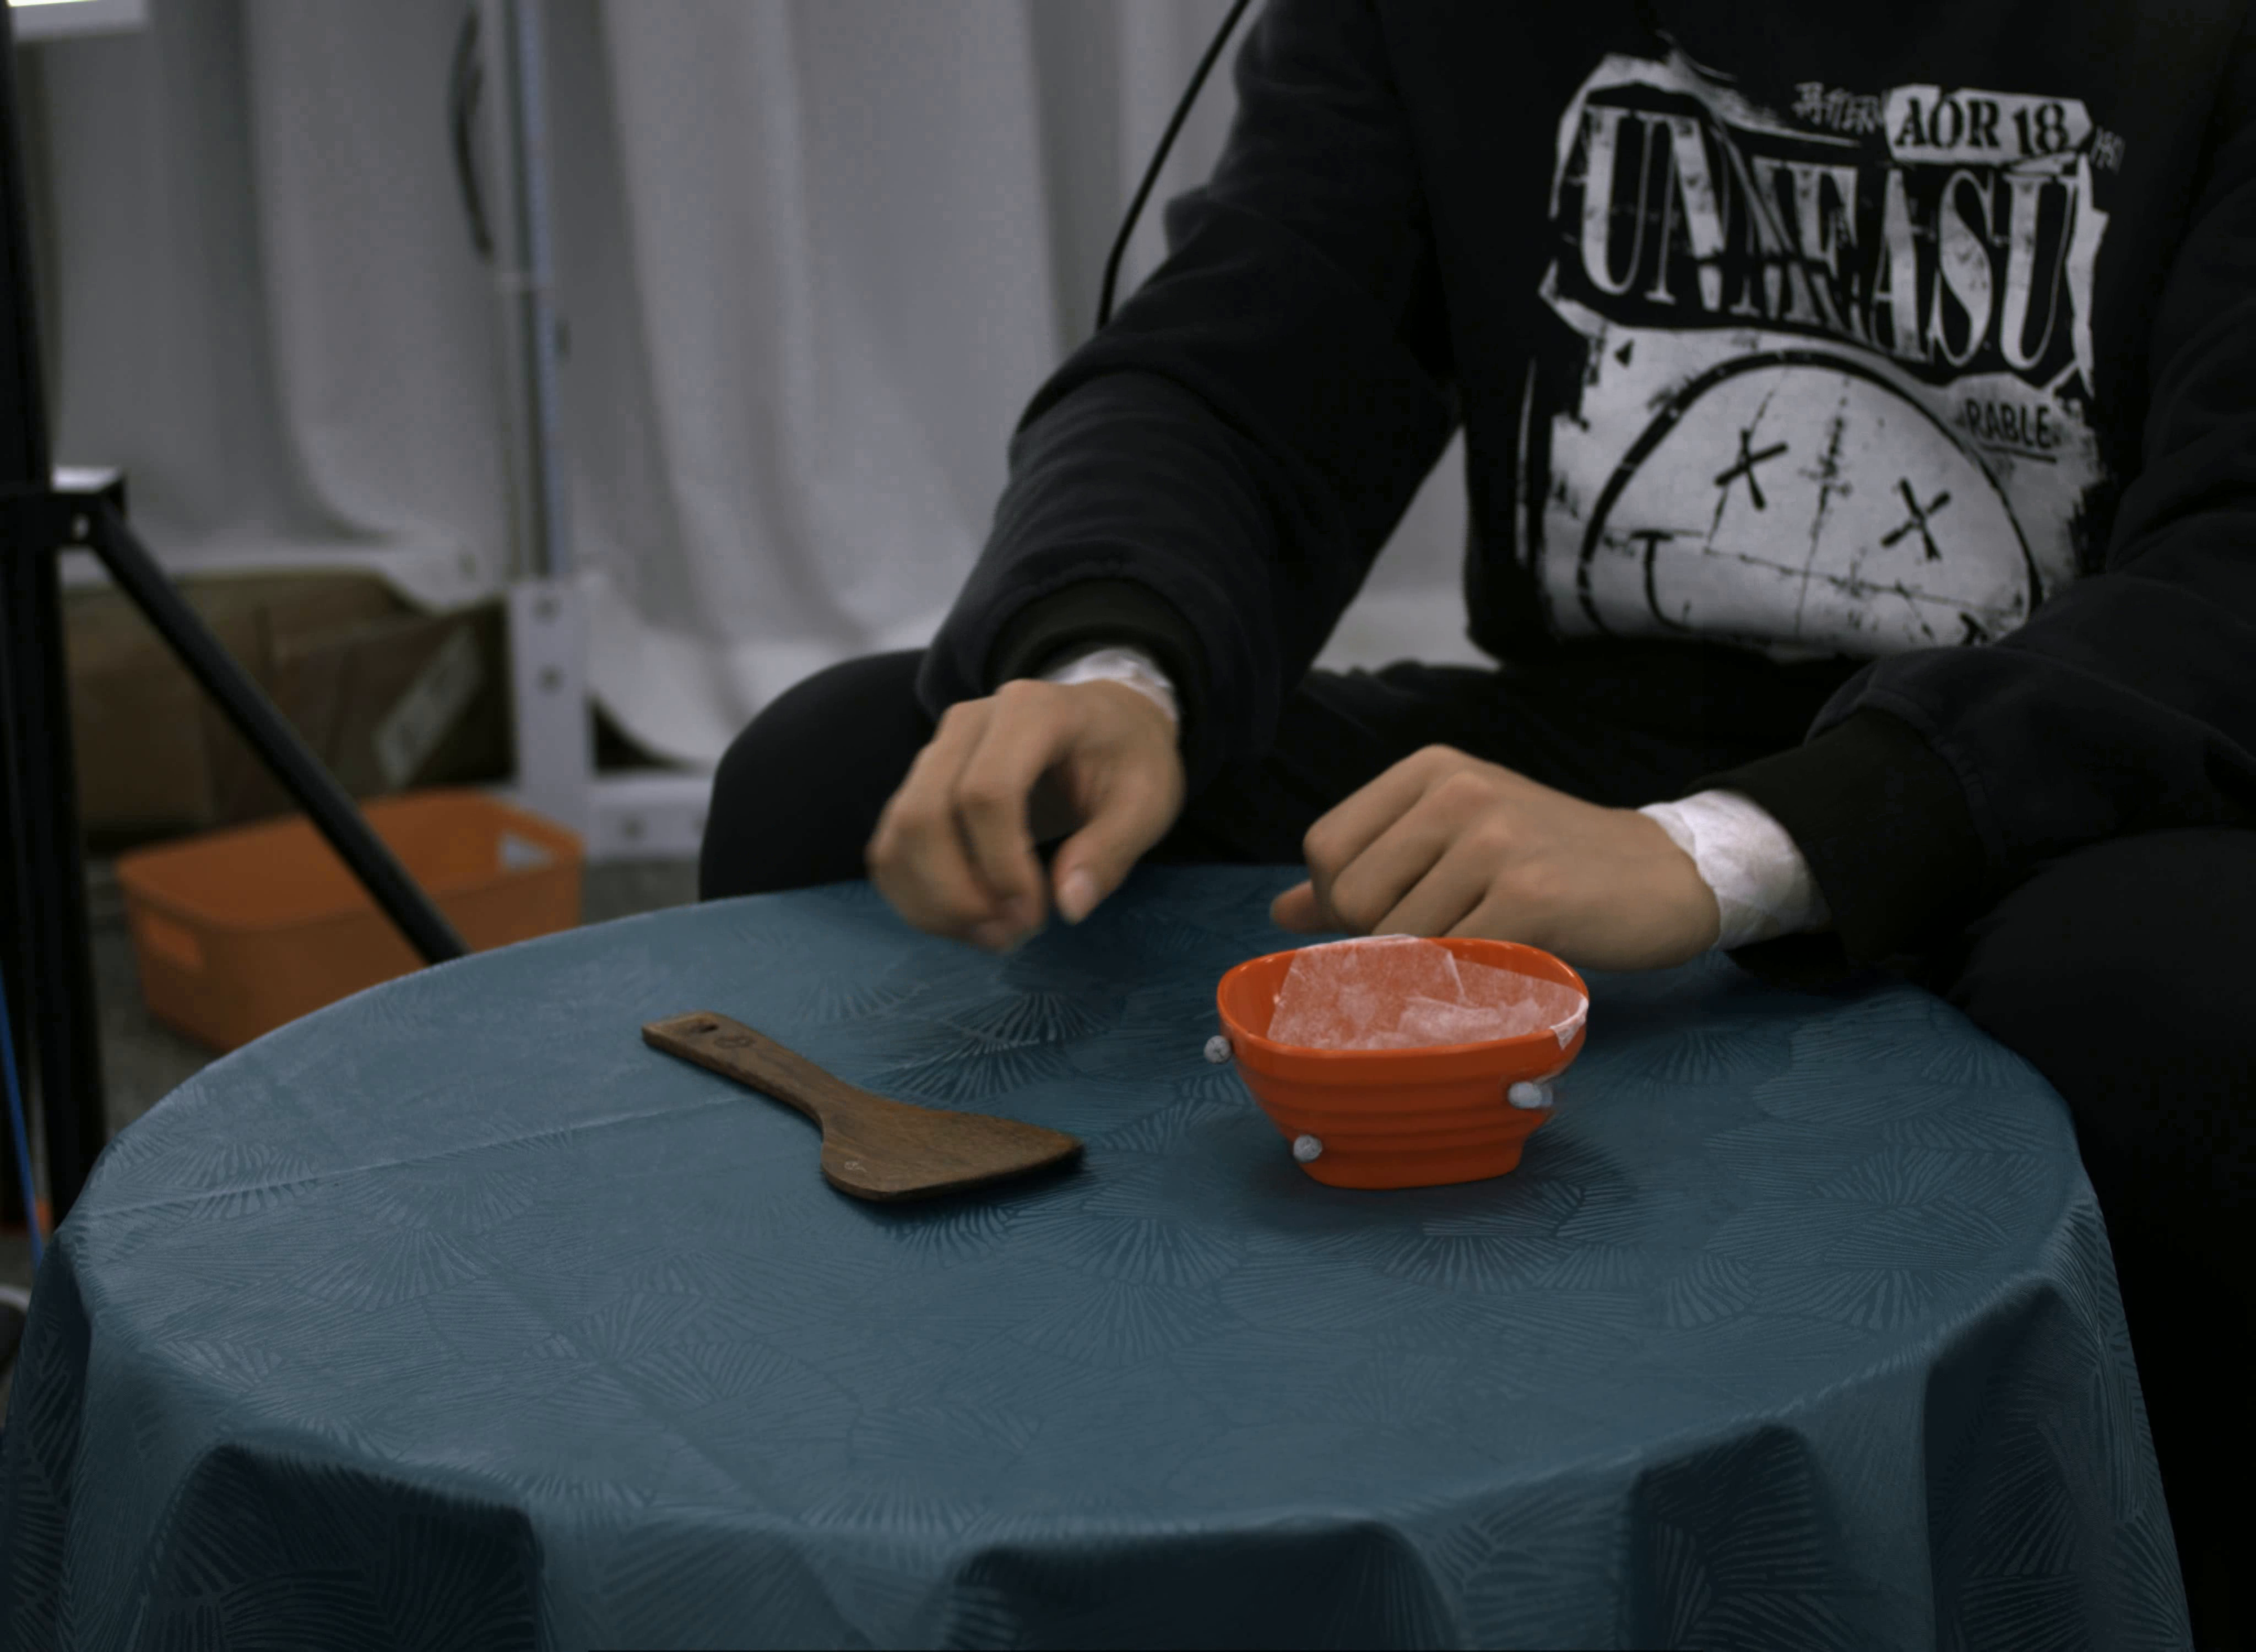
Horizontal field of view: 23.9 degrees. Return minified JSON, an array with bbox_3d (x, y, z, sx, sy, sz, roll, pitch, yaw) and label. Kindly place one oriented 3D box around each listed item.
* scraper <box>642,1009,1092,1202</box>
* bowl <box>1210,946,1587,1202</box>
[{"bbox_3d":[-0.092,0.084,1.642,0.074,0.011,0.216,-11,17,-30],"label":"scraper"},{"bbox_3d":[0.082,0.076,1.579,0.118,0.051,0.119,-7,14,0],"label":"bowl"}]
